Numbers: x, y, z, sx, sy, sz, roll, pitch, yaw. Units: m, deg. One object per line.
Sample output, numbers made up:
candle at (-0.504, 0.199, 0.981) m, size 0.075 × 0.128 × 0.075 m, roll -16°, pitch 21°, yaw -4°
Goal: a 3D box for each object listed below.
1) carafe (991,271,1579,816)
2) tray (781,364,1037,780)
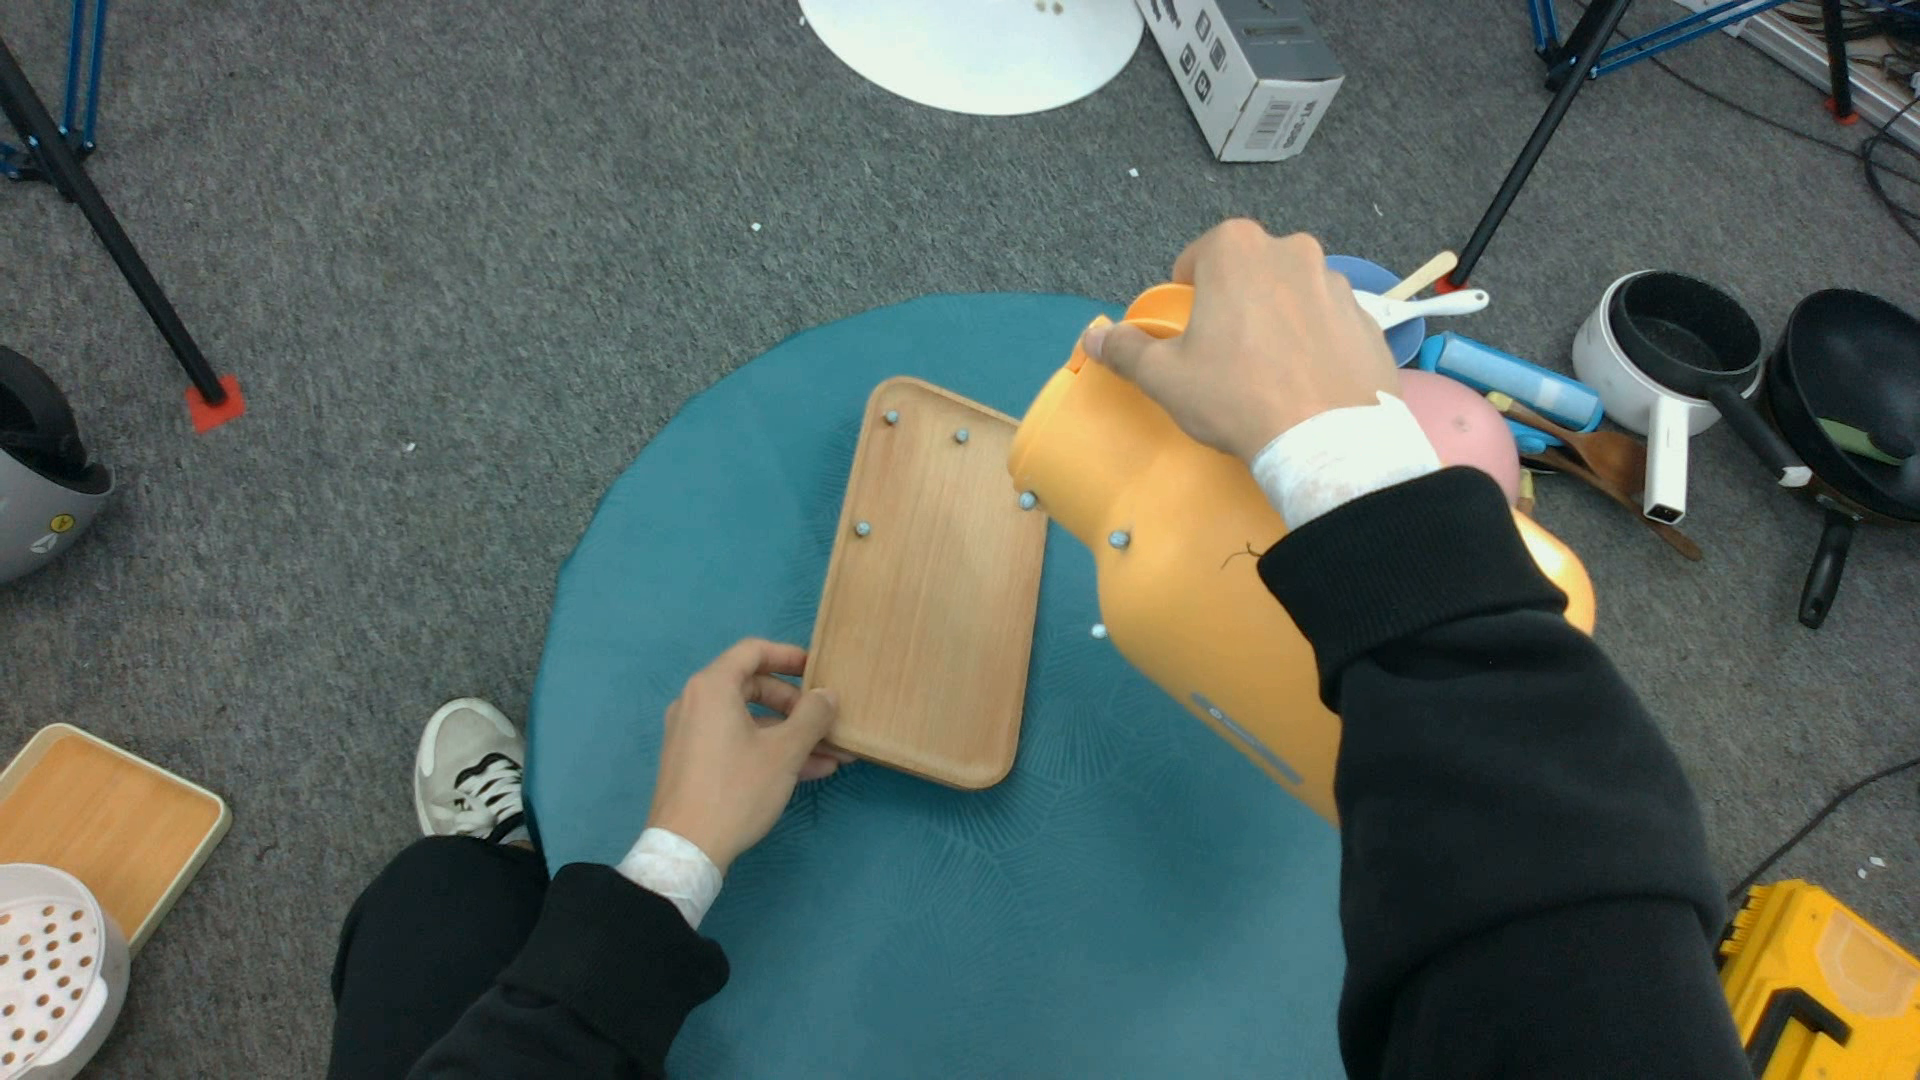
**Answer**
carafe at (0.139, -0.009, 0.627) m, size 0.260 × 0.201 × 0.164 m, roll 35°, pitch 67°, yaw 12°
tray at (-0.023, 0.012, 0.795) m, size 0.130 × 0.023 × 0.252 m, roll 20°, pitch 56°, yaw -14°
